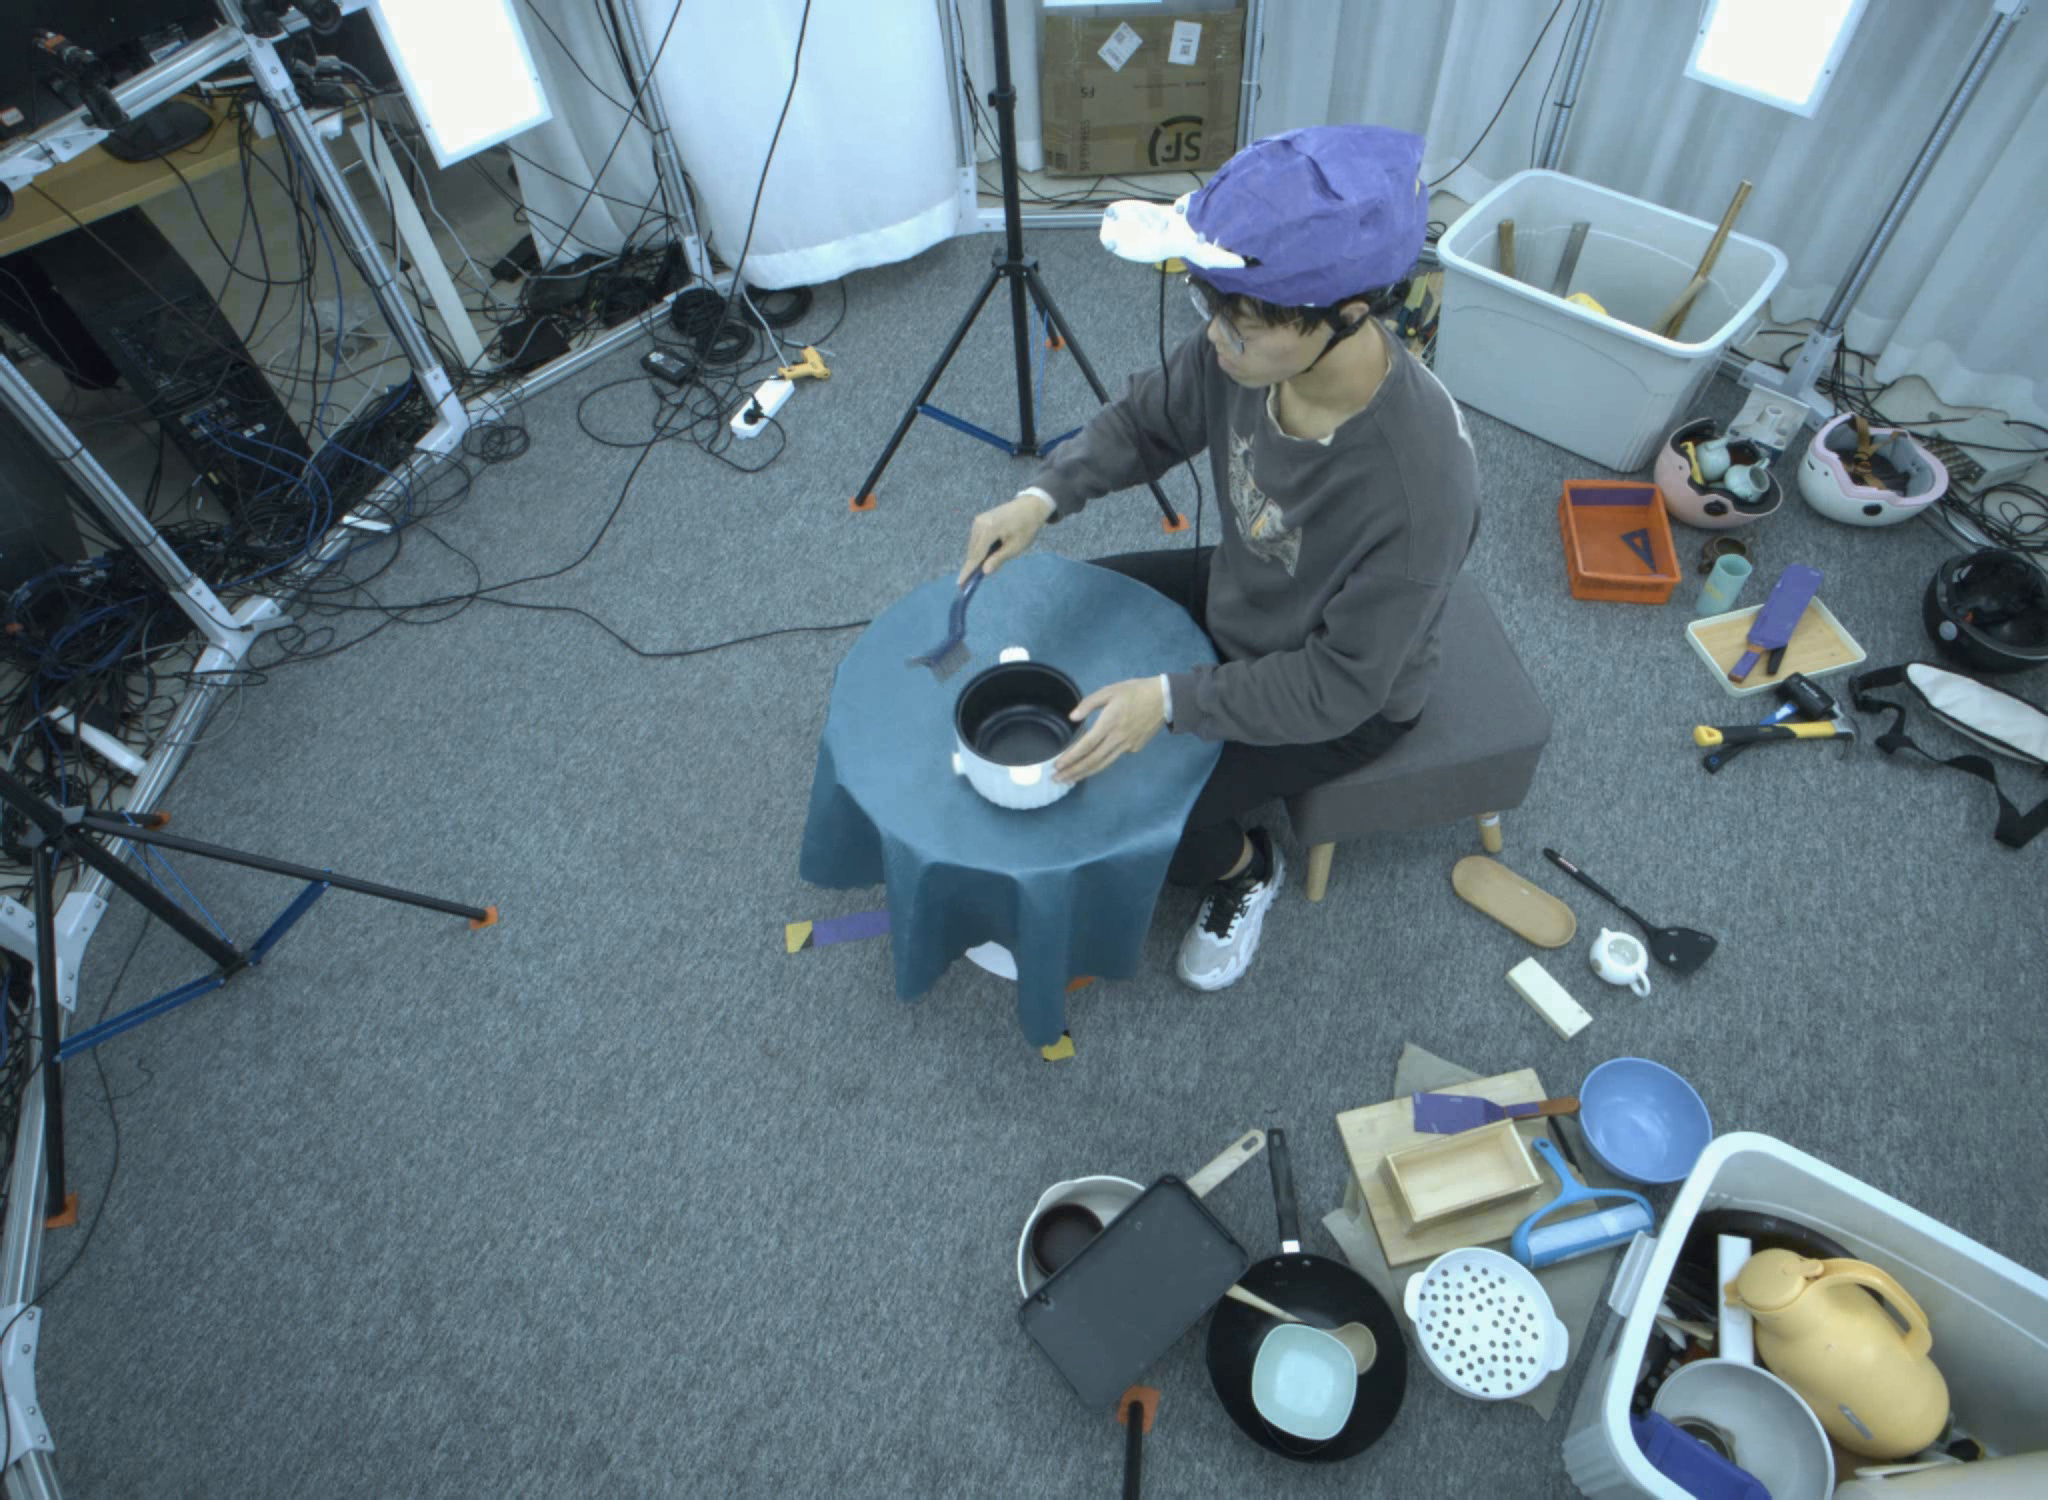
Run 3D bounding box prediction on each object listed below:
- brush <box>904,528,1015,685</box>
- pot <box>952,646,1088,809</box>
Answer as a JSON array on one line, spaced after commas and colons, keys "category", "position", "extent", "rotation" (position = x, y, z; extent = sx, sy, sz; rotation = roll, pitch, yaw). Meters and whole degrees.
[{"category": "brush", "position": [-0.084, -0.213, 1.707], "extent": [0.033, 0.098, 0.272], "rotation": [-12, 53, 48]}, {"category": "pot", "position": [-0.007, -0.012, 1.707], "extent": [0.191, 0.144, 0.237], "rotation": [-4, 53, -4]}]
